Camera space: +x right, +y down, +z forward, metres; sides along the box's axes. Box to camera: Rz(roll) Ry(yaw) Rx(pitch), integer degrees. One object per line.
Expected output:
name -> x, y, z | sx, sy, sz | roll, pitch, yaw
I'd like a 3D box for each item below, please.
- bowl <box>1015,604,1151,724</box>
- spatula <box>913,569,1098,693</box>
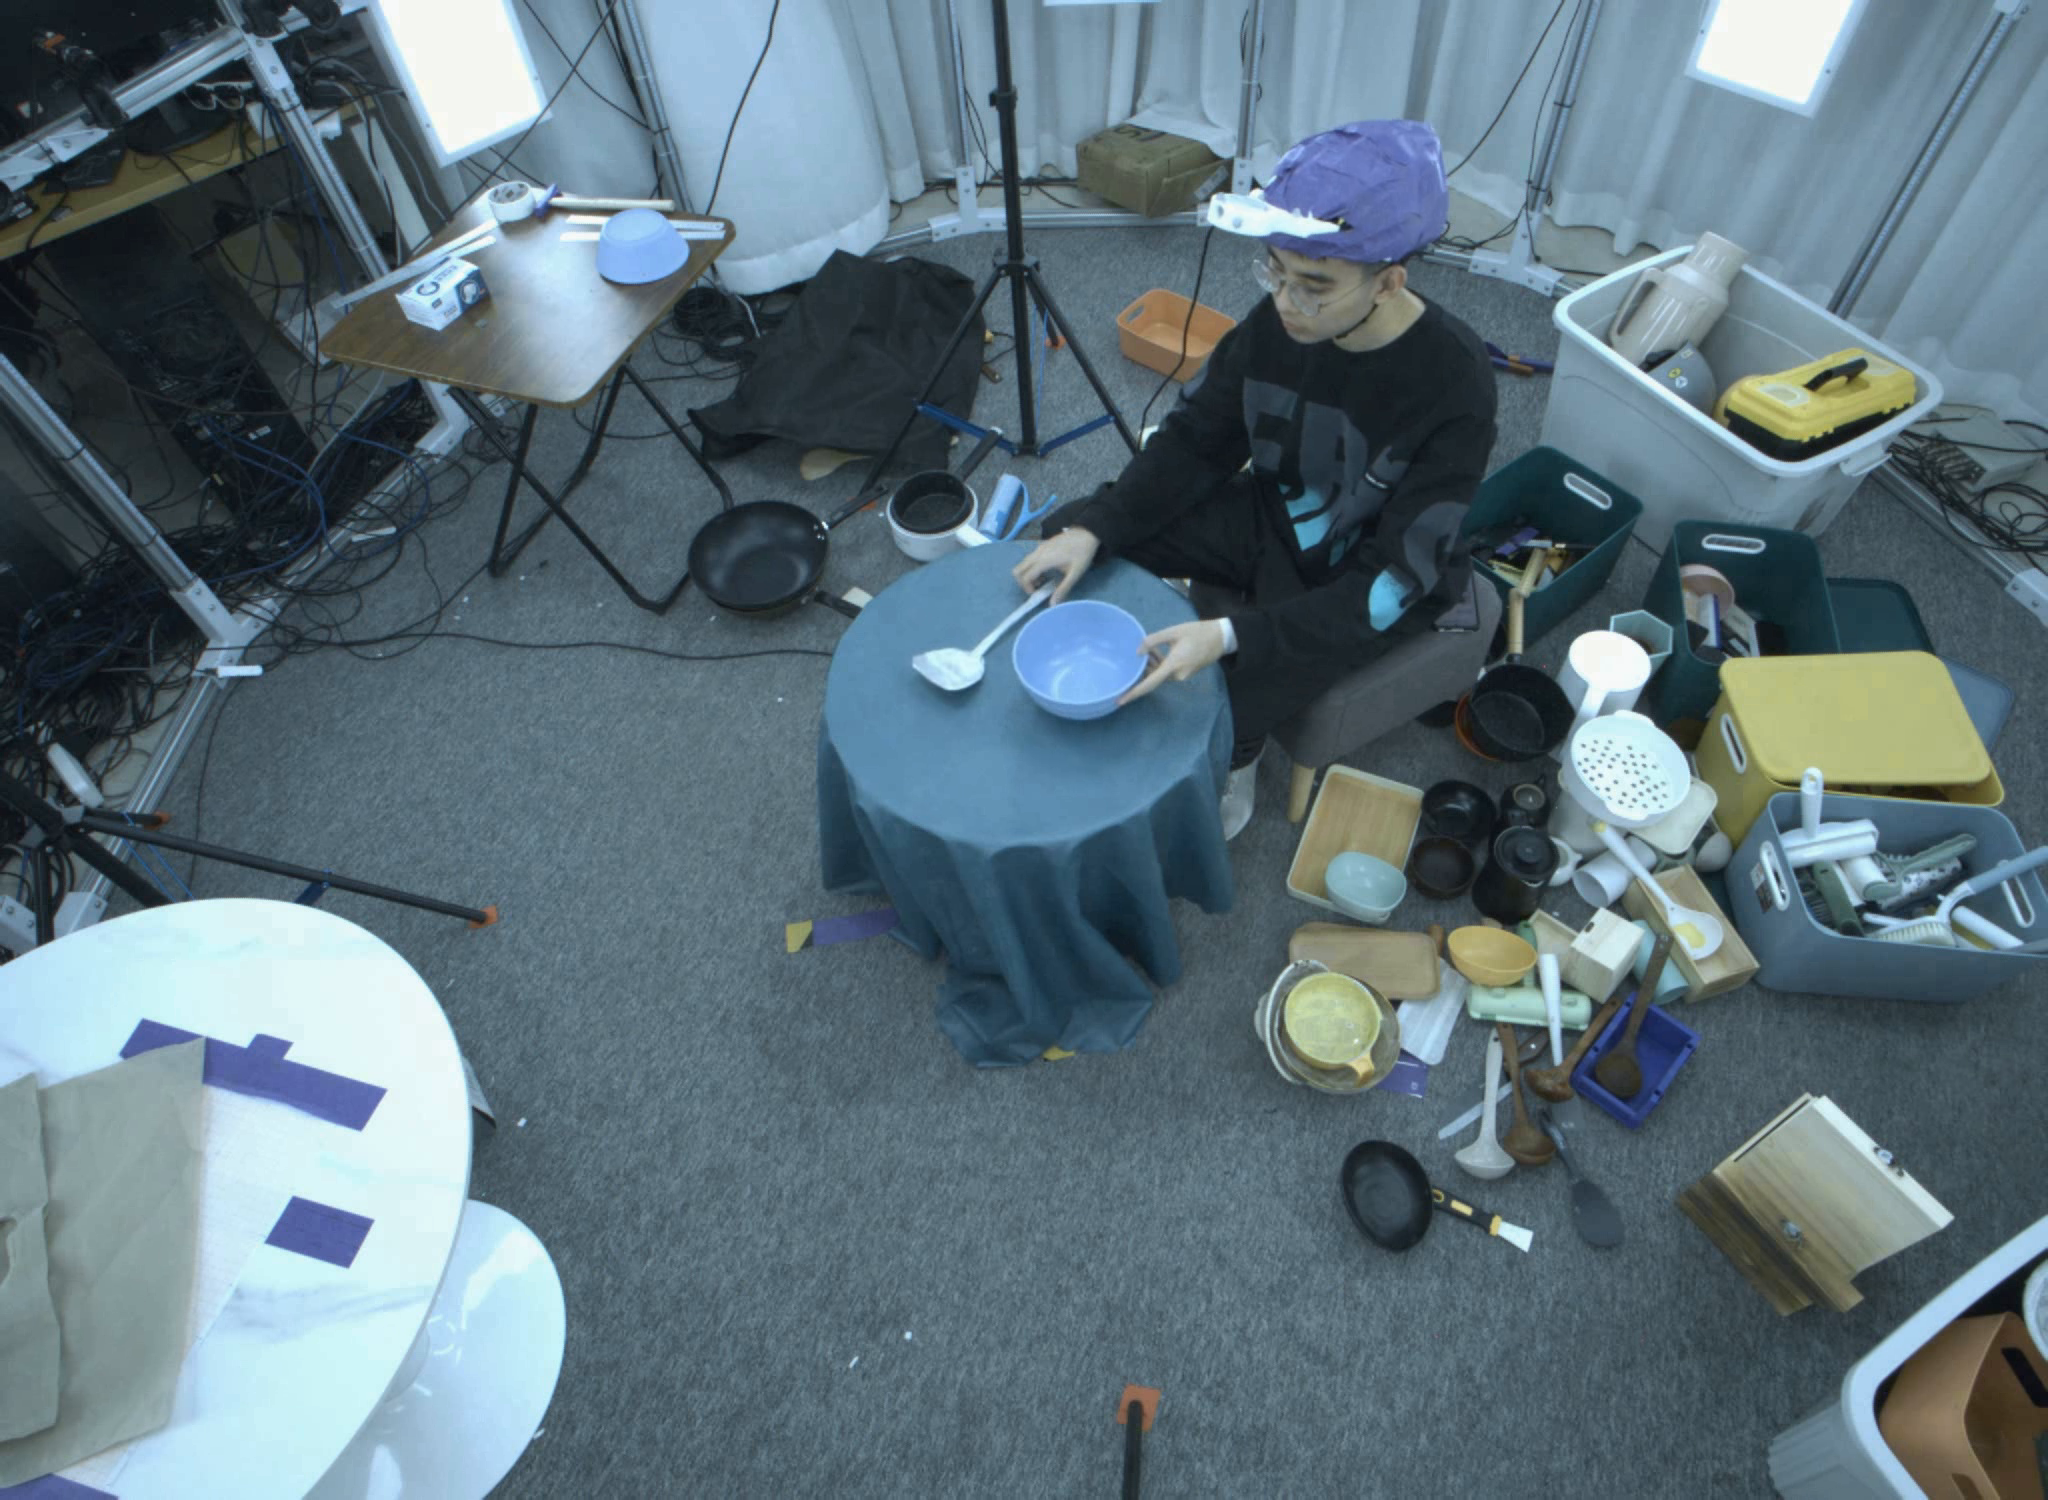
bowl -> 0.089, -0.112, 1.814 | 0.196, 0.096, 0.194 | -2, 55, 4
spatula -> -0.016, -0.200, 1.915 | 0.097, 0.045, 0.367 | 36, 64, 26
